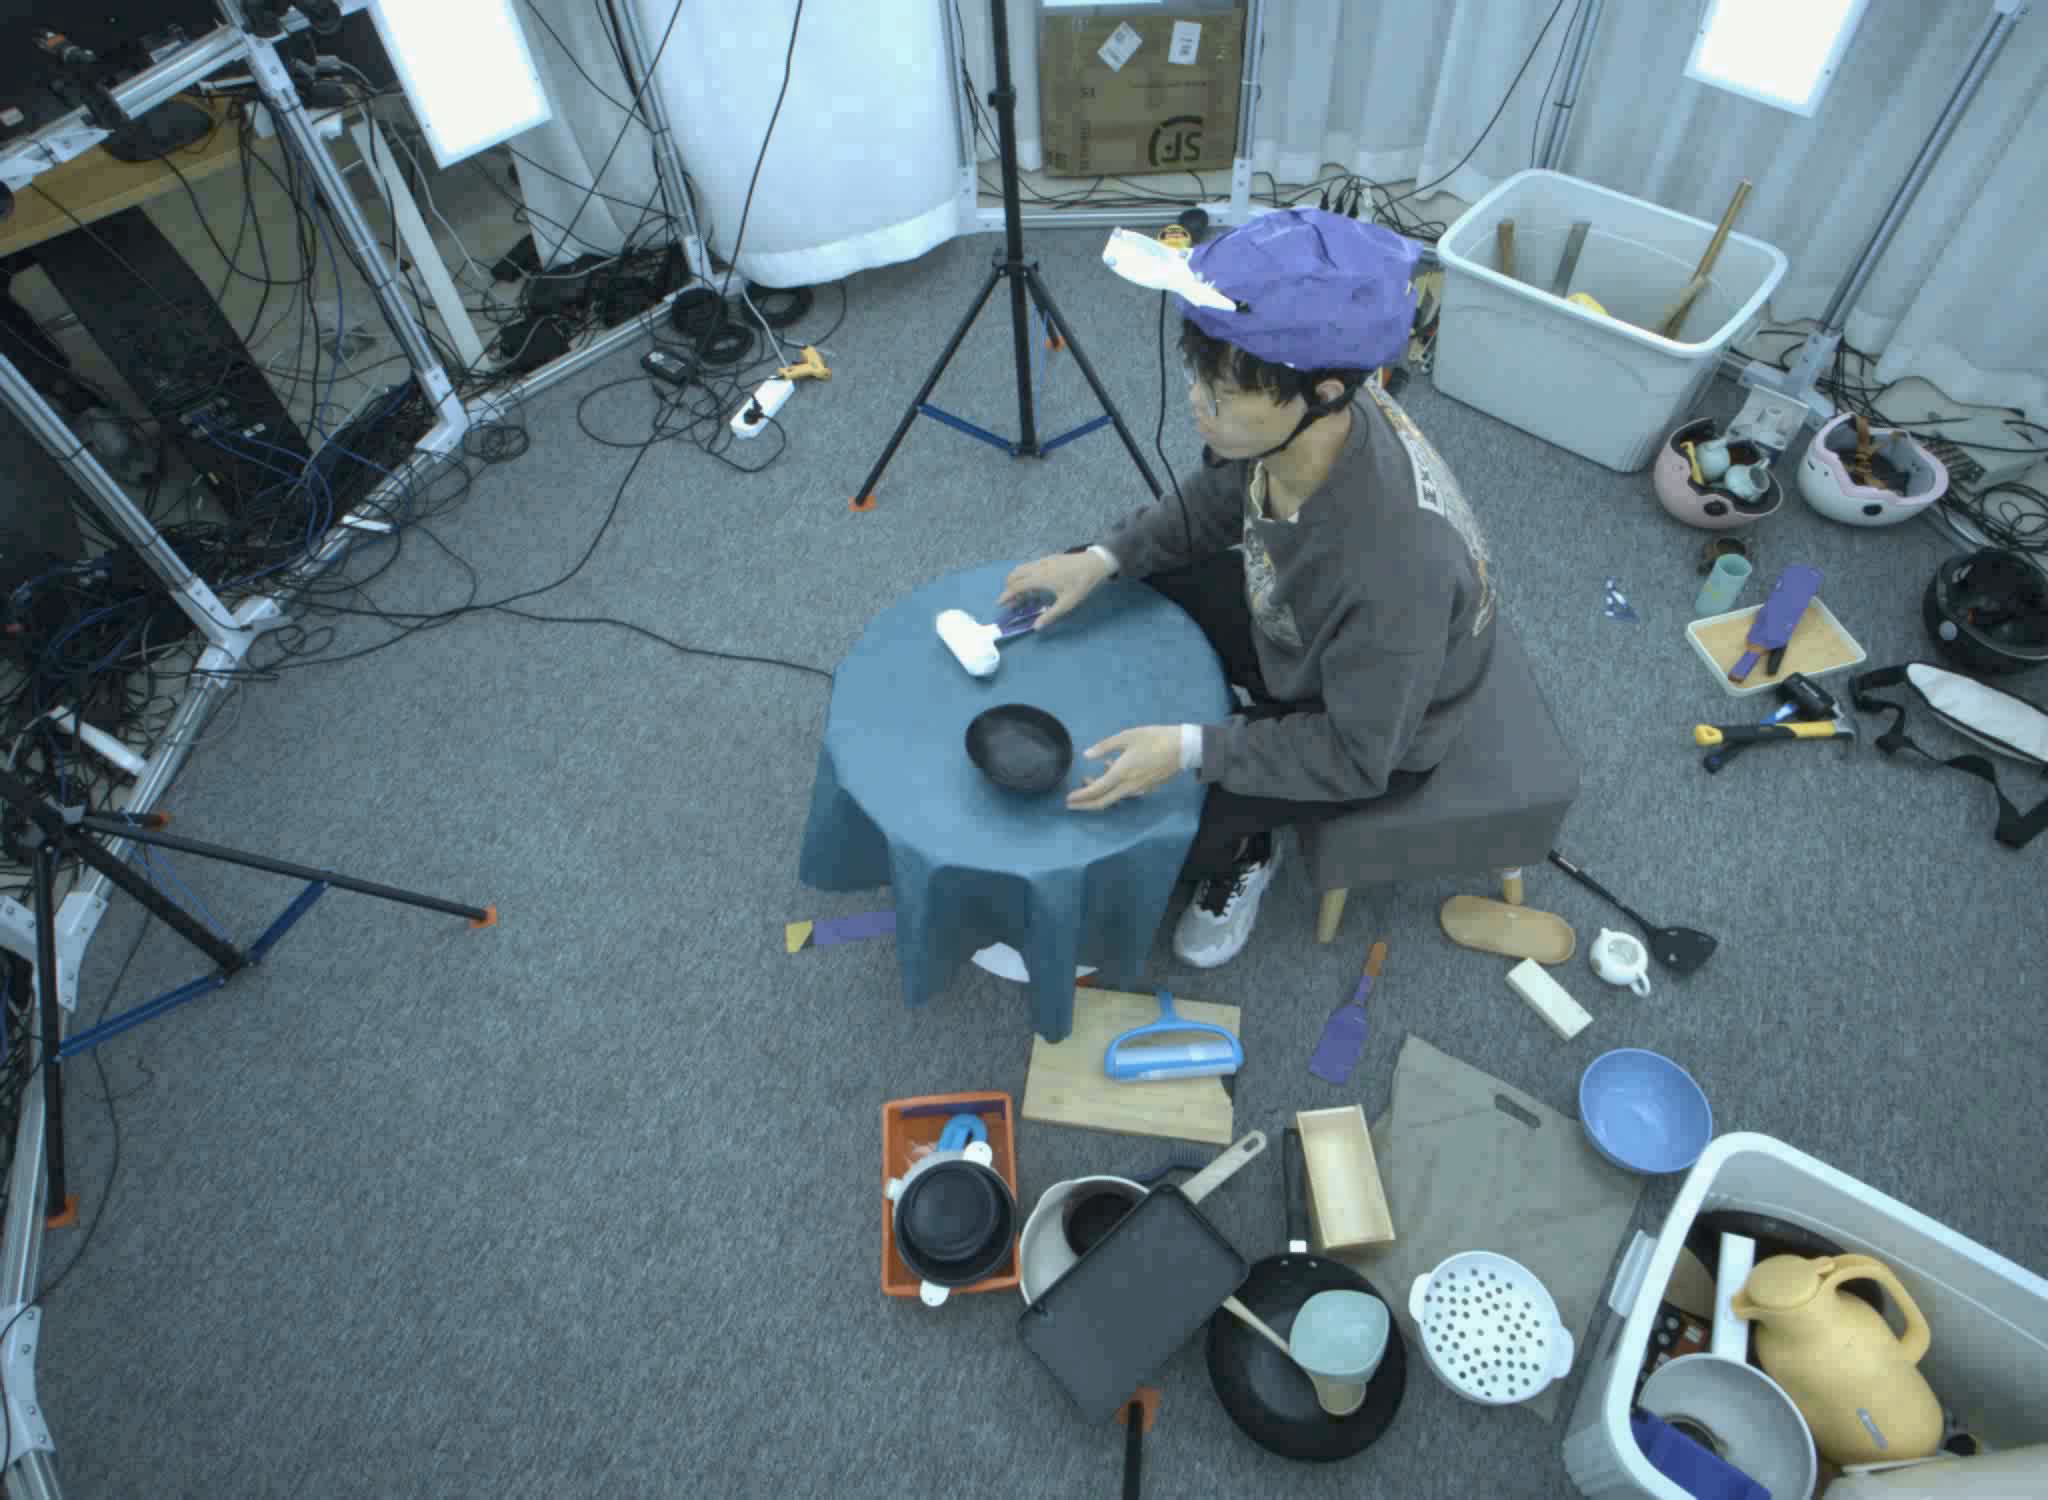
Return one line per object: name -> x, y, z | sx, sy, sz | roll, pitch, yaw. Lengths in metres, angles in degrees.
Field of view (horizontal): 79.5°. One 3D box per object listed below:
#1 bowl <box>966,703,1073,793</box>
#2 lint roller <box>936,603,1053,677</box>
bowl -> -0.008, 0.008, 1.741 | 0.167, 0.067, 0.138 | 36, 62, 26
lint roller -> -0.034, -0.192, 1.894 | 0.182, 0.051, 0.130 | -28, 57, -13
